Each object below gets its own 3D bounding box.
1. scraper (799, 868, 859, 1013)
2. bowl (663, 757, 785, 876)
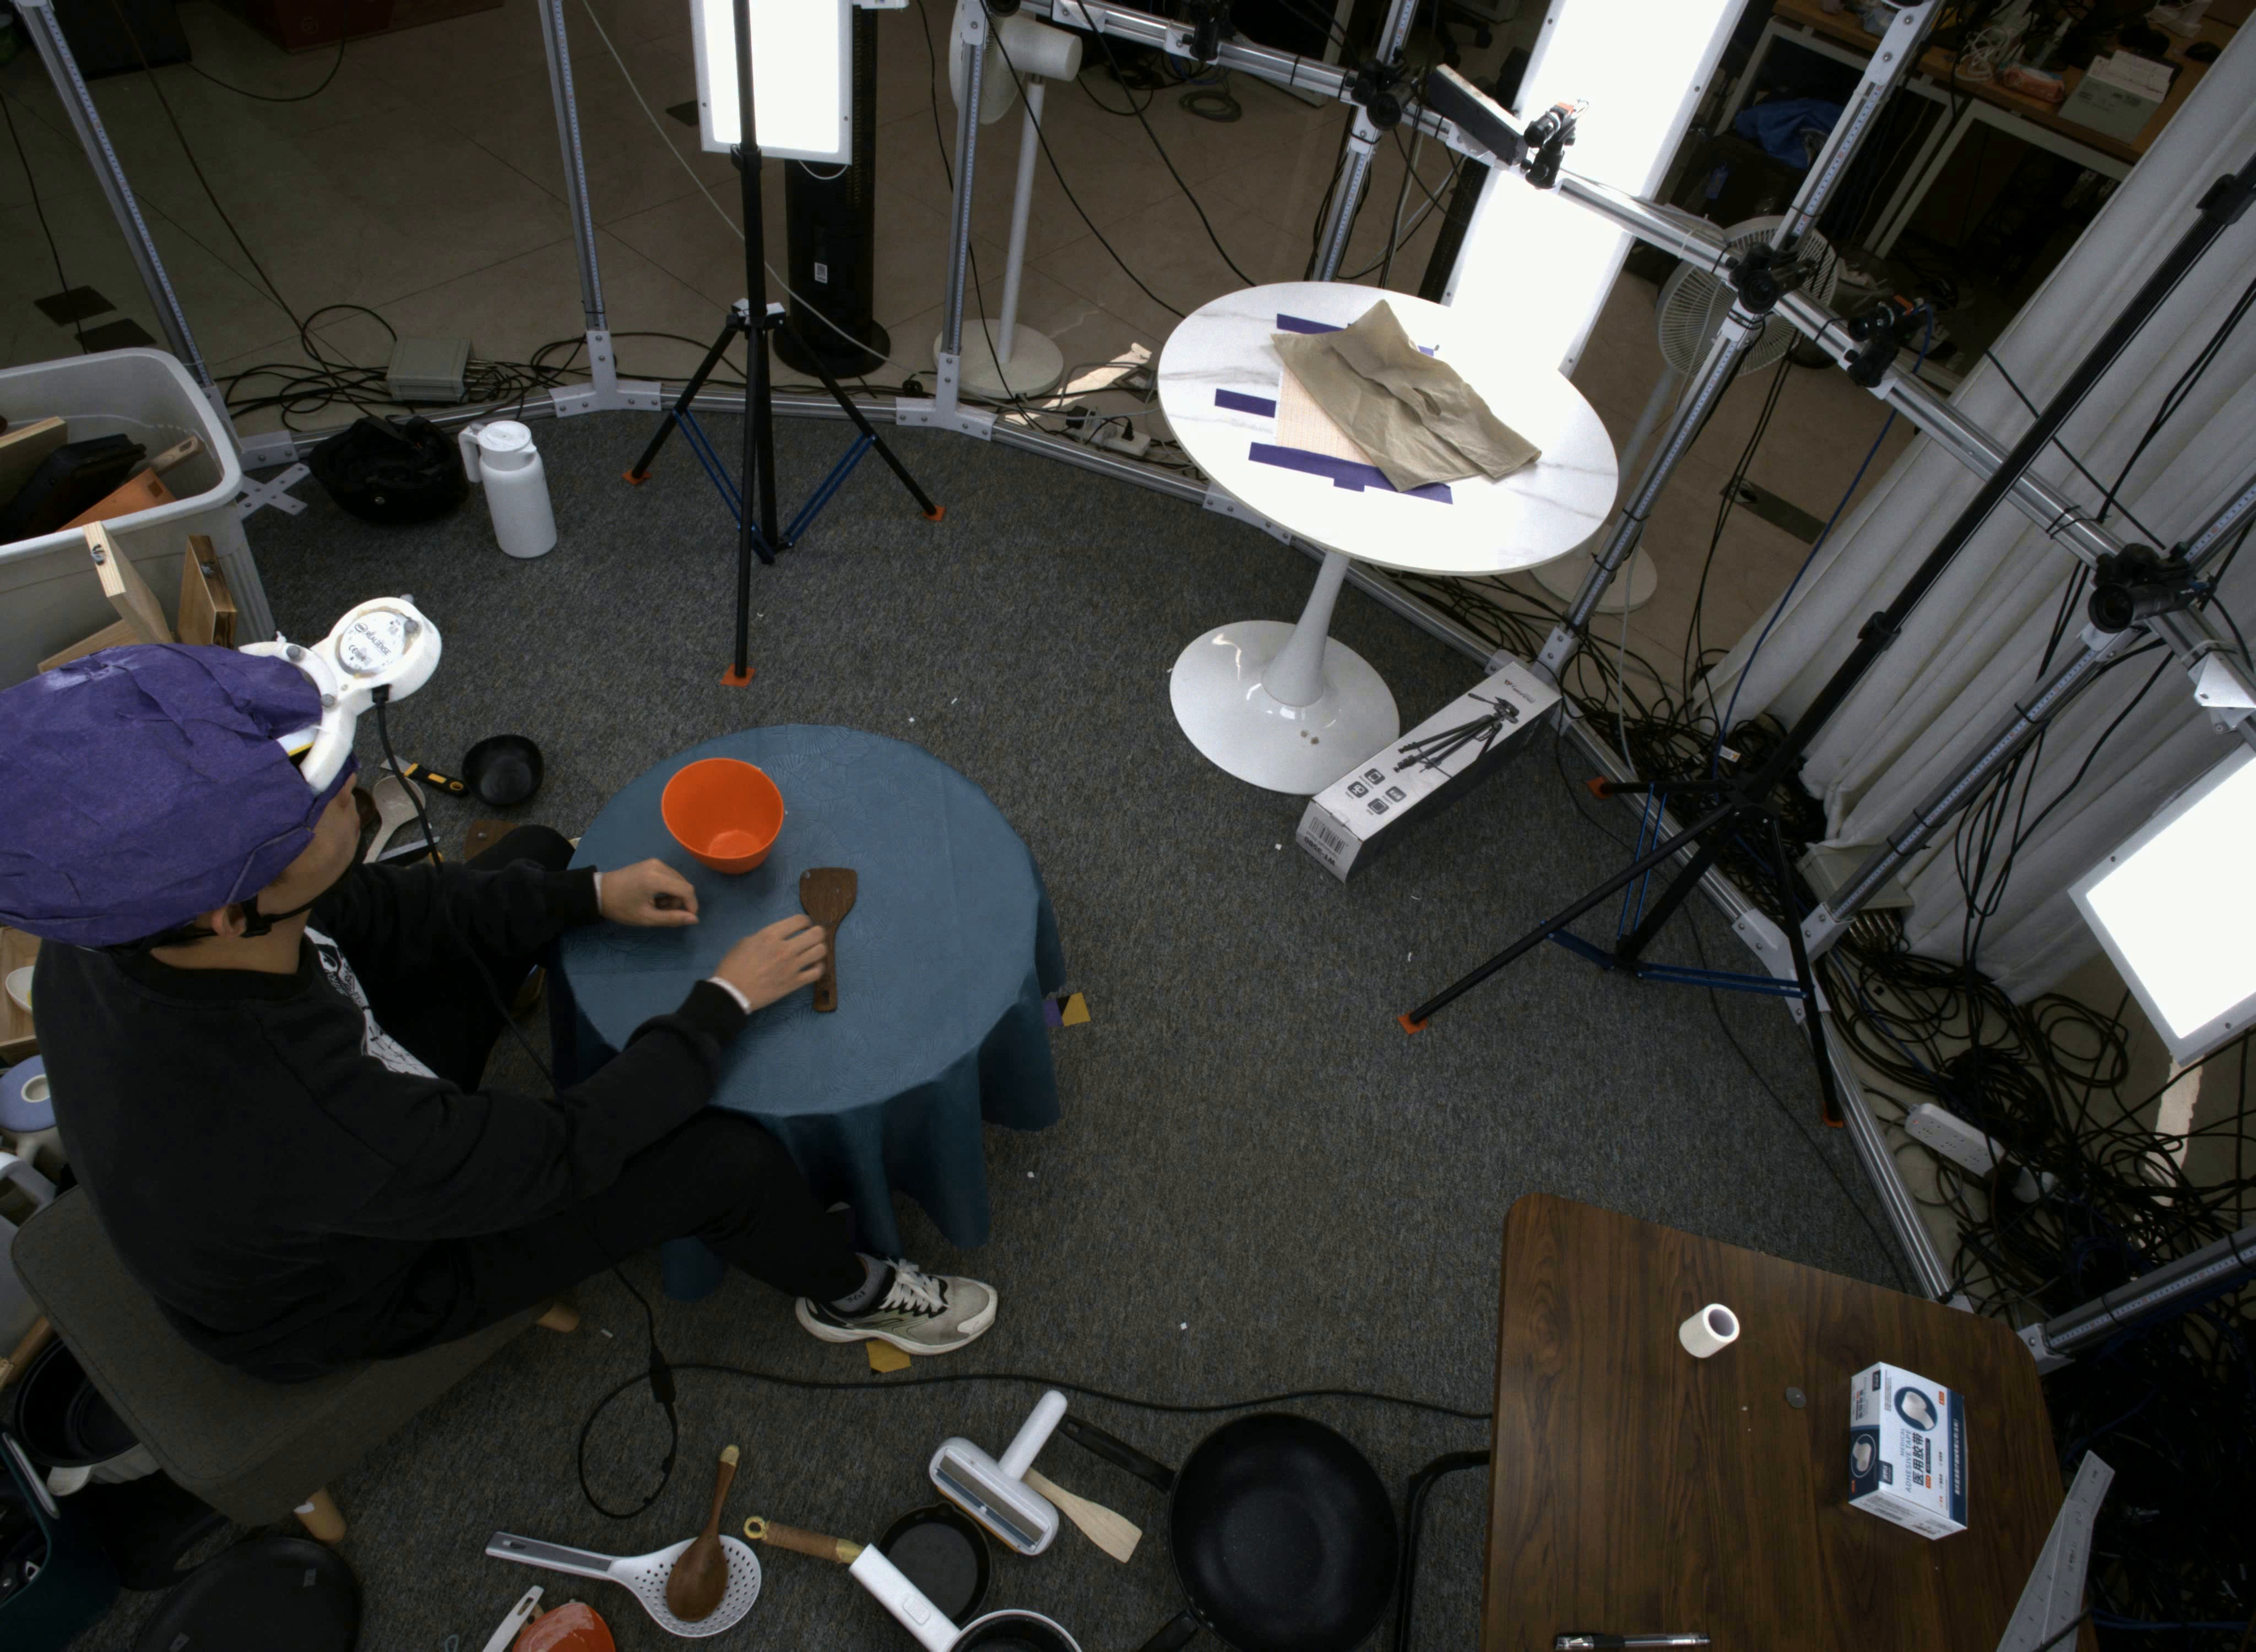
[{"bbox_3d":[-0.378,0.139,1.632,0.076,0.011,0.207,1,55,-13],"label":"scraper"},{"bbox_3d":[-0.510,-0.001,1.642,0.148,0.107,0.145,7,52,-8],"label":"bowl"}]
